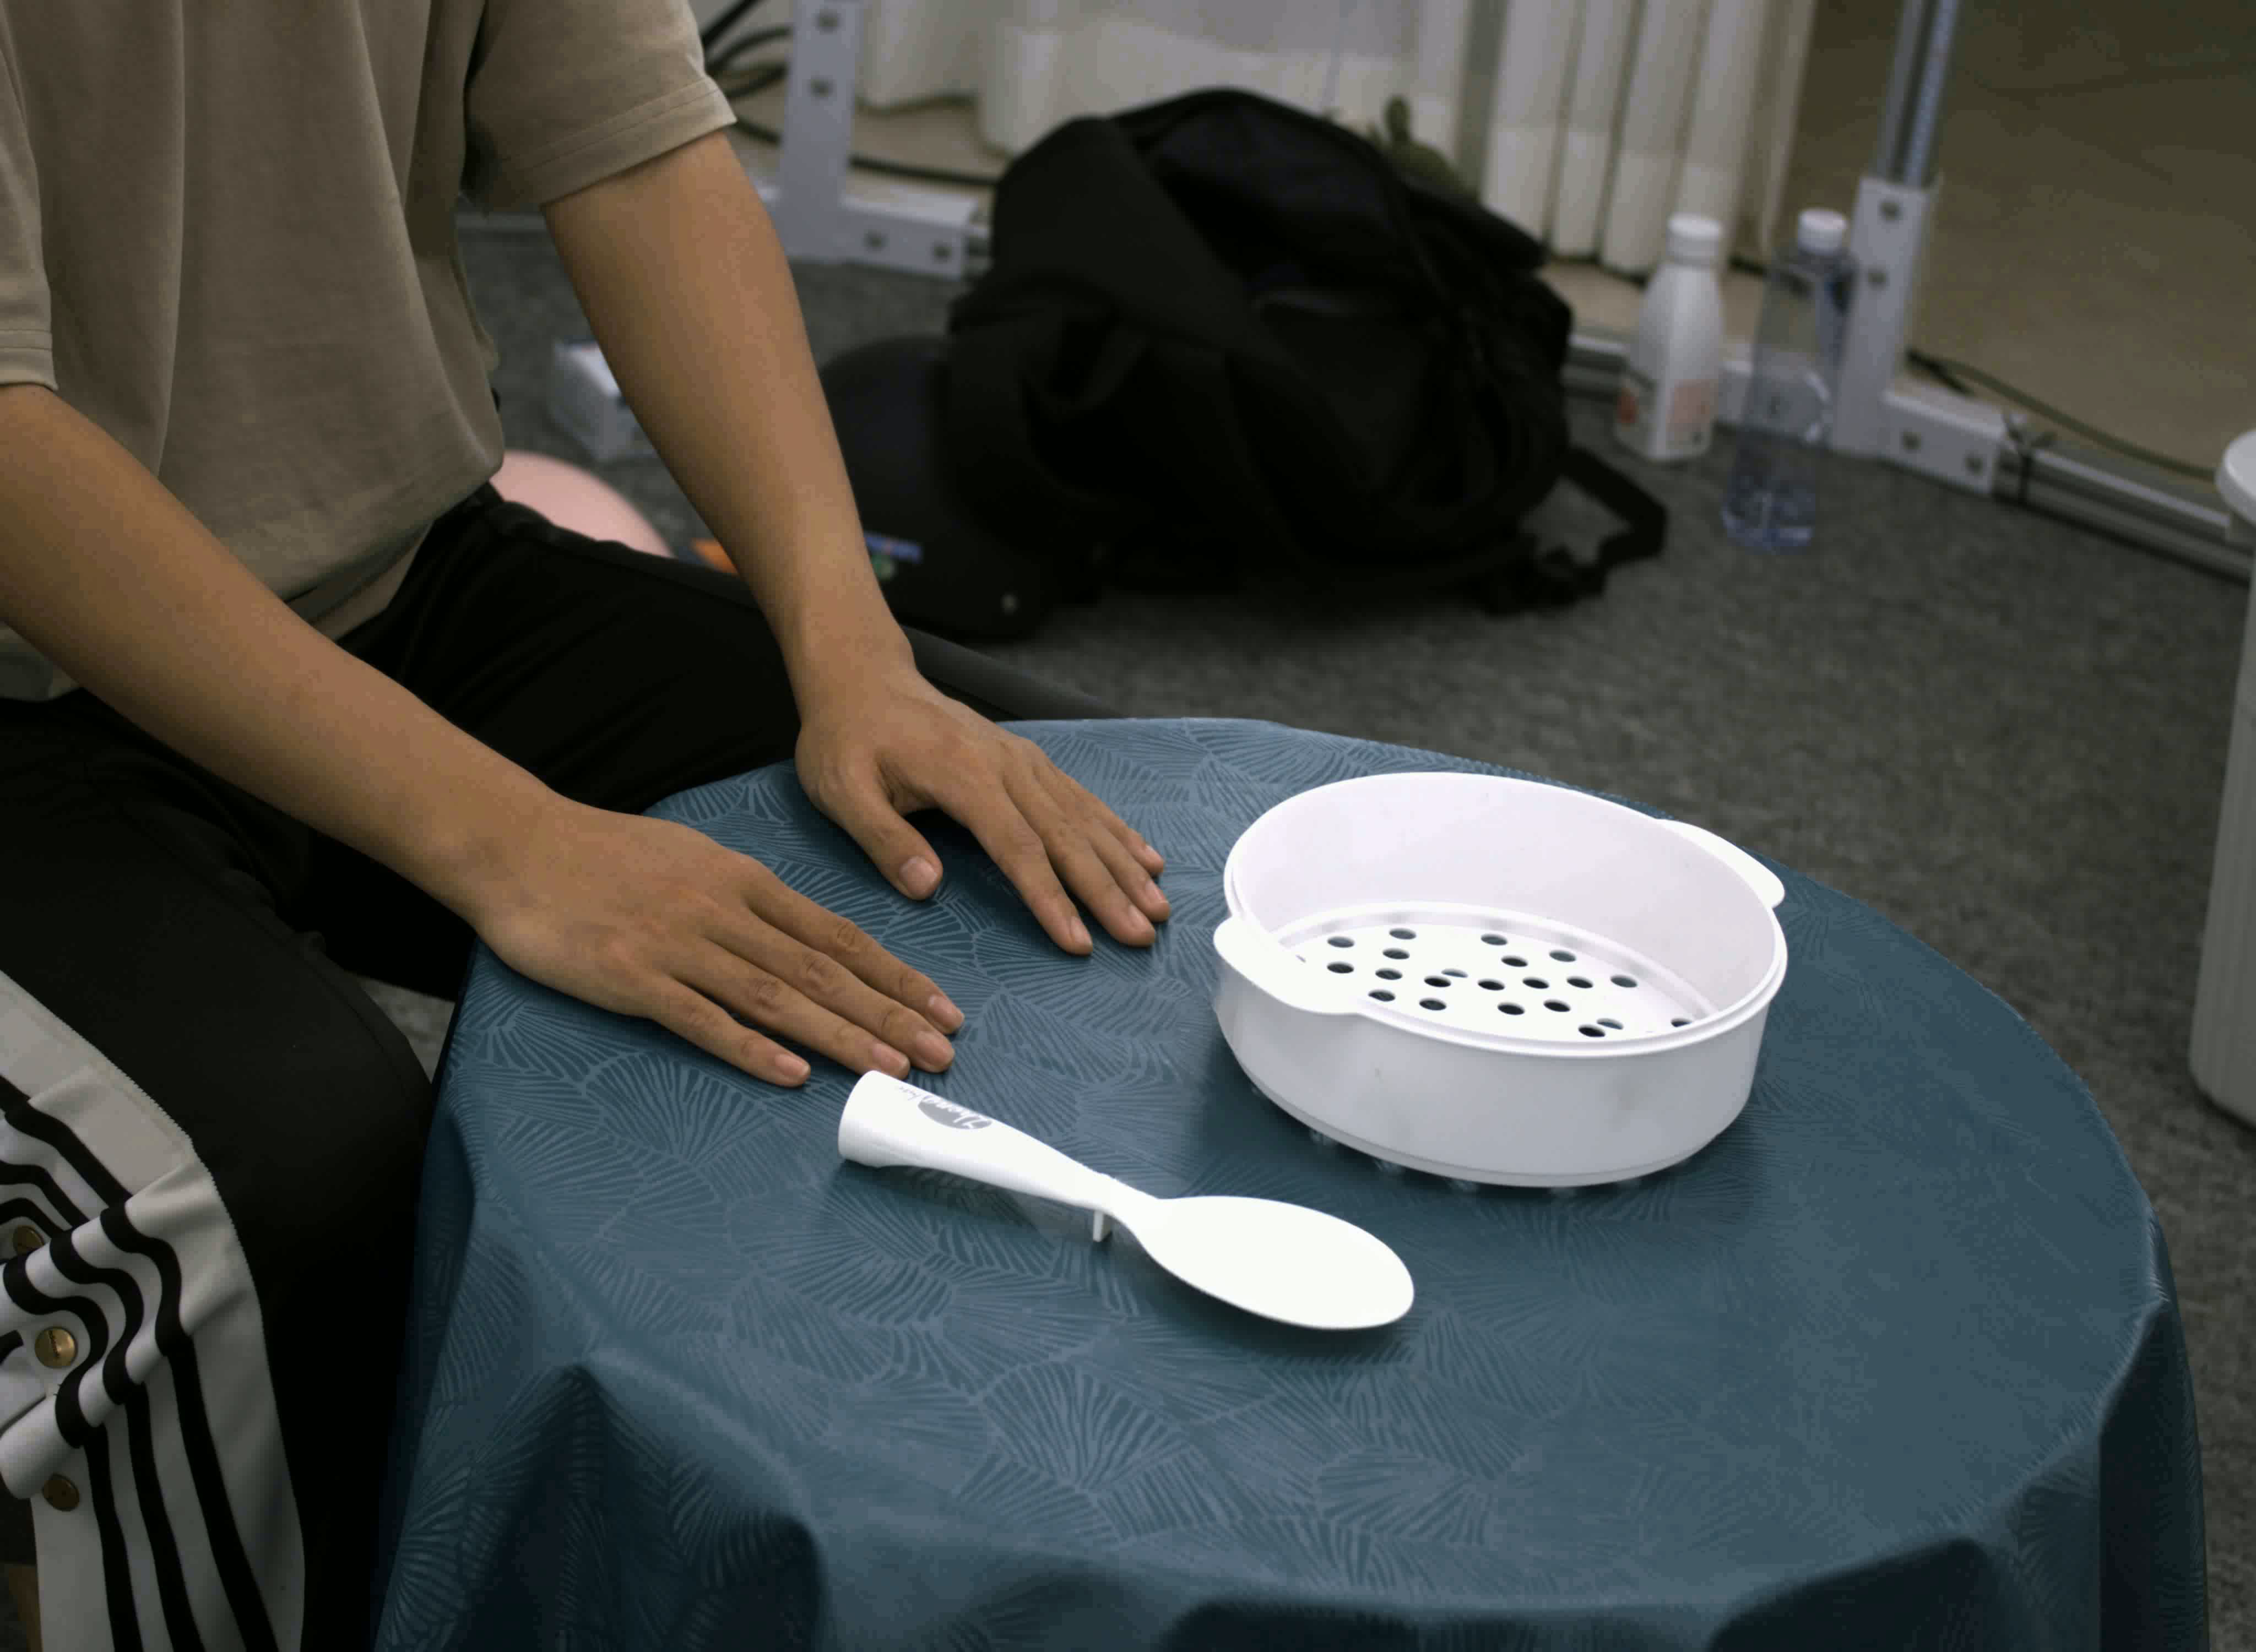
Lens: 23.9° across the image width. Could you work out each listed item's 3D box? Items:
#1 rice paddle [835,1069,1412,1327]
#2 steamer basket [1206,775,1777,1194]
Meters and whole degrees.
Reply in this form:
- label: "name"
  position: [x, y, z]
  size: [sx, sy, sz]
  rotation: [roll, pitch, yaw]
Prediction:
- label: "rice paddle"
  position: [-0.001, 0.125, 1.768]
  size: [0.206, 0.029, 0.069]
  rotation: [18, 30, 20]
- label: "steamer basket"
  position: [0.126, 0.057, 1.892]
  size: [0.229, 0.069, 0.204]
  rotation: [-11, 33, -34]
